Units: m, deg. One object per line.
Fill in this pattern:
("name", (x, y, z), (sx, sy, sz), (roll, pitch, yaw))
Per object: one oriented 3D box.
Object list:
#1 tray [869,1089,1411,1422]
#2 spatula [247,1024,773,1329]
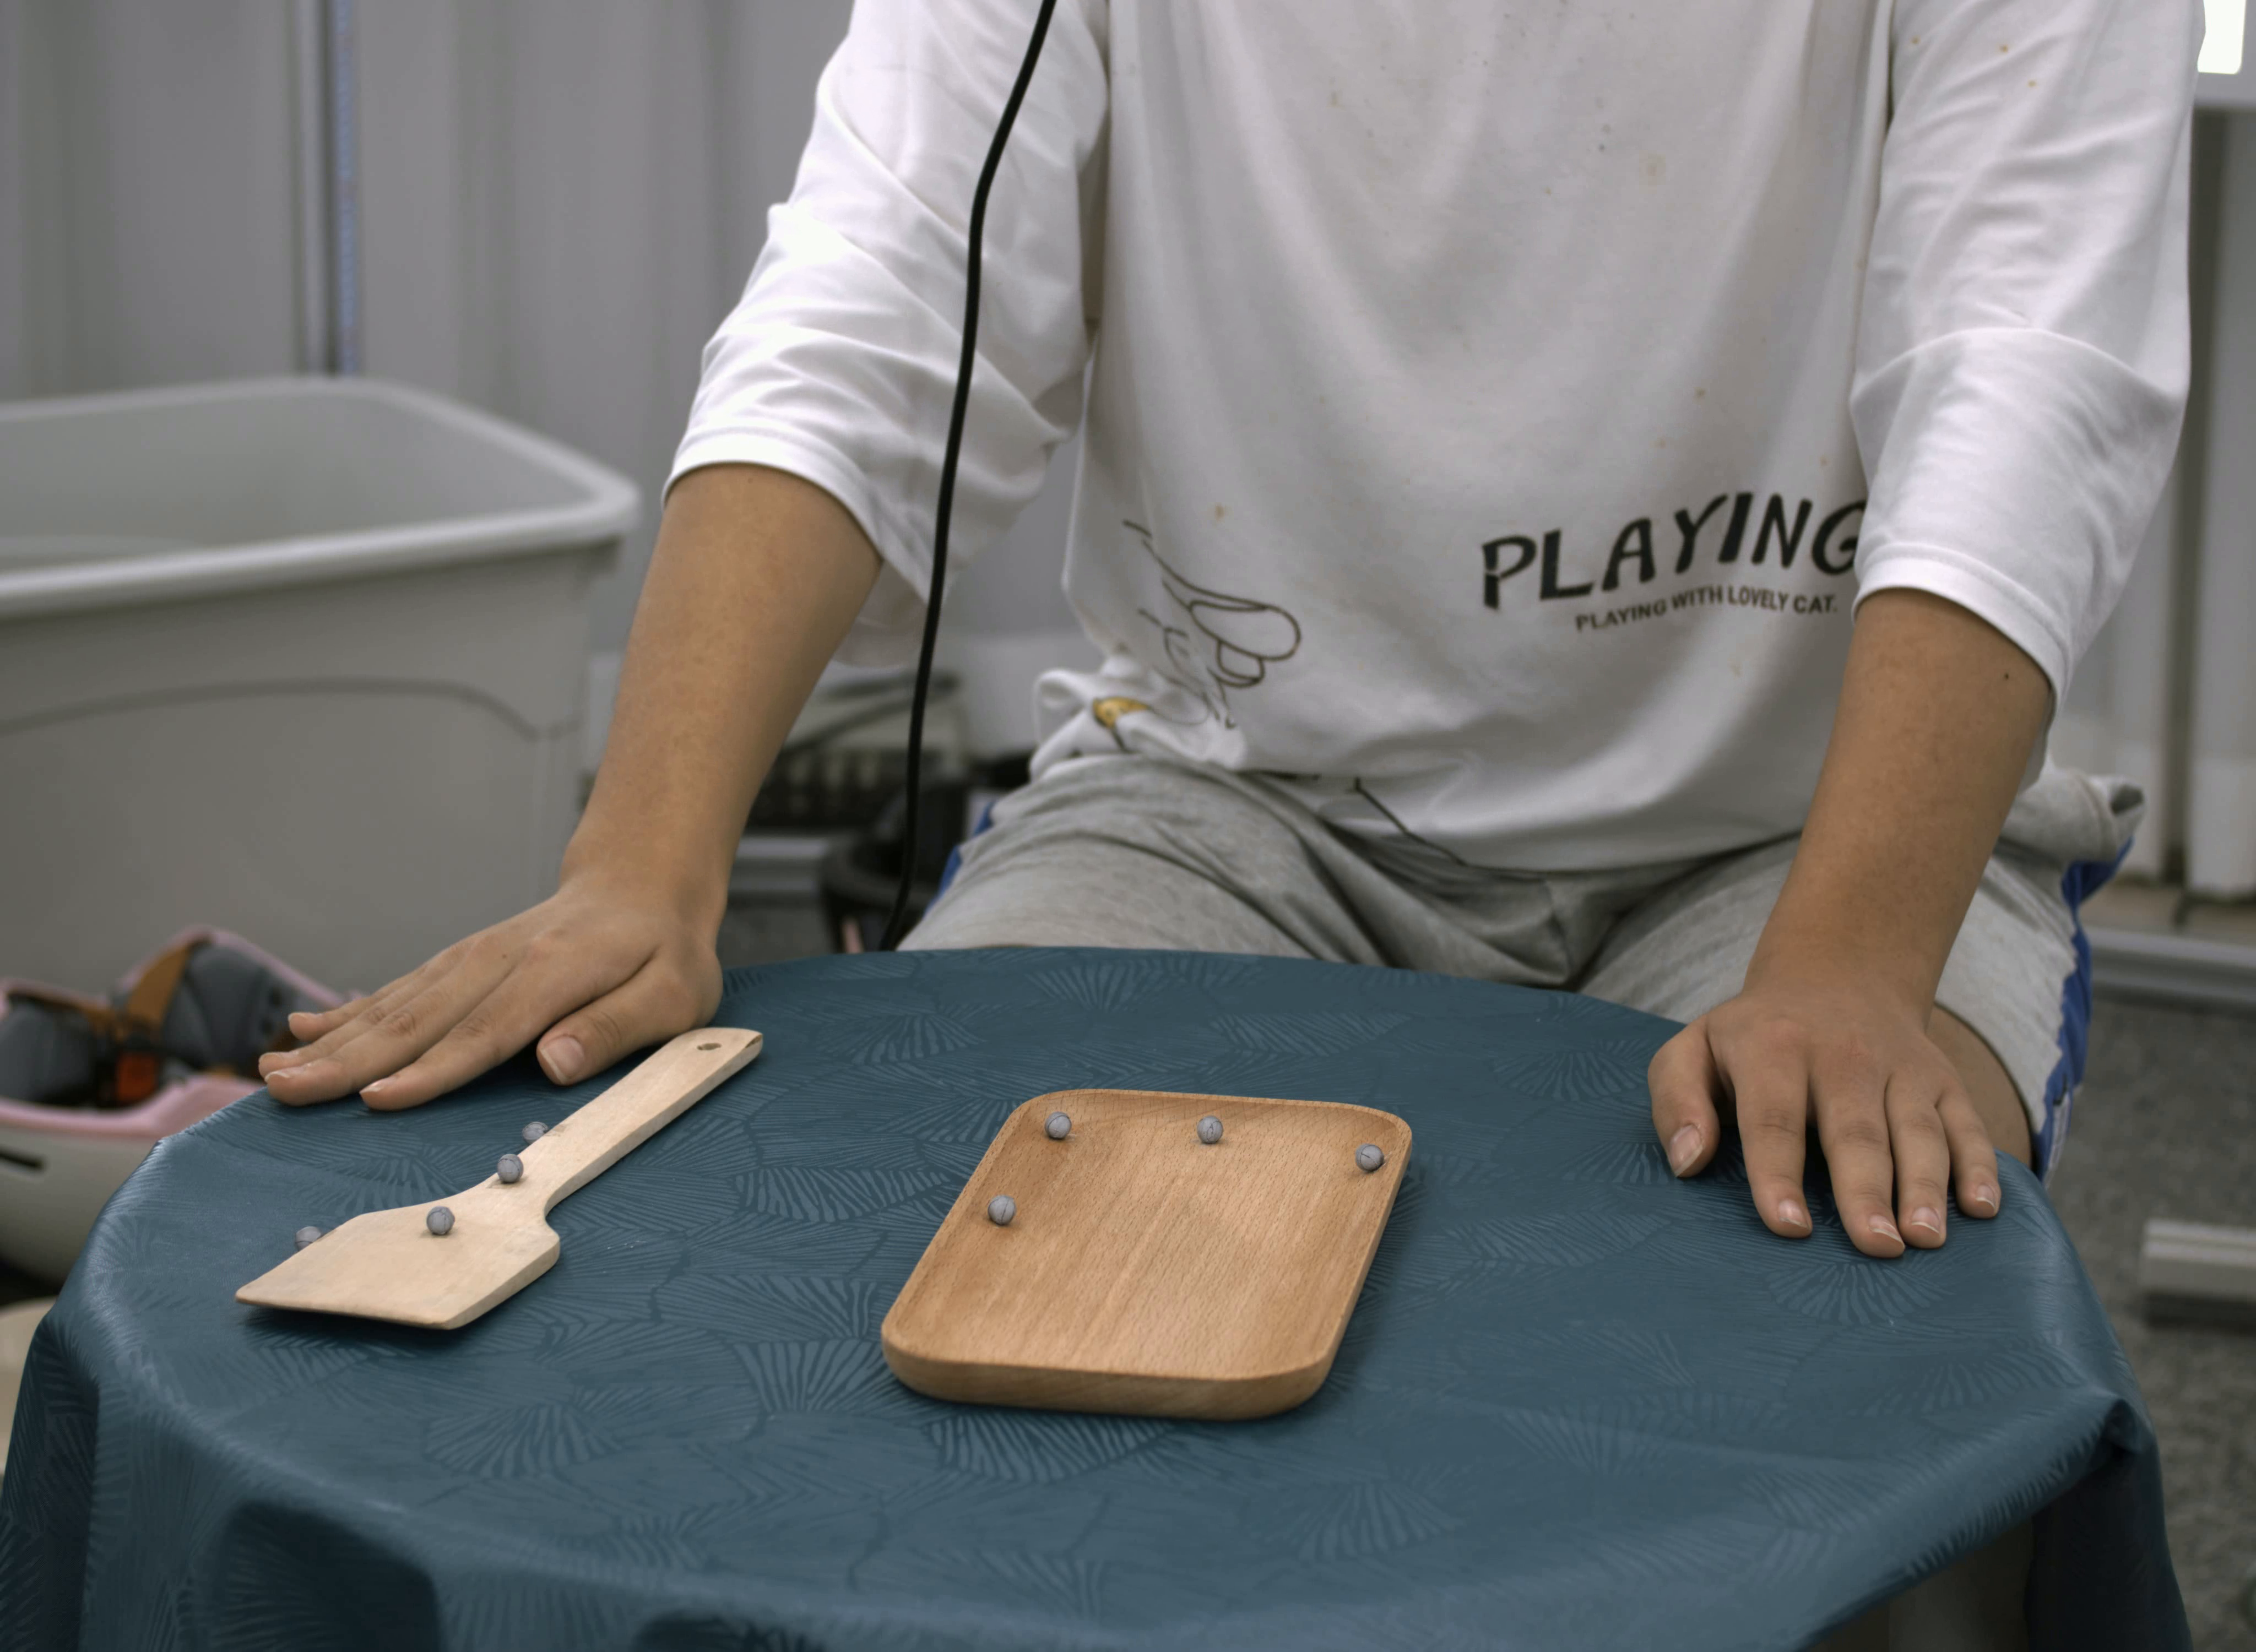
("tray", (0.008, 0.124, 1.558), (0.130, 0.023, 0.250), (1, 16, 11))
("spatula", (-0.177, 0.105, 1.630), (0.071, 0.011, 0.293), (5, 16, 18))
